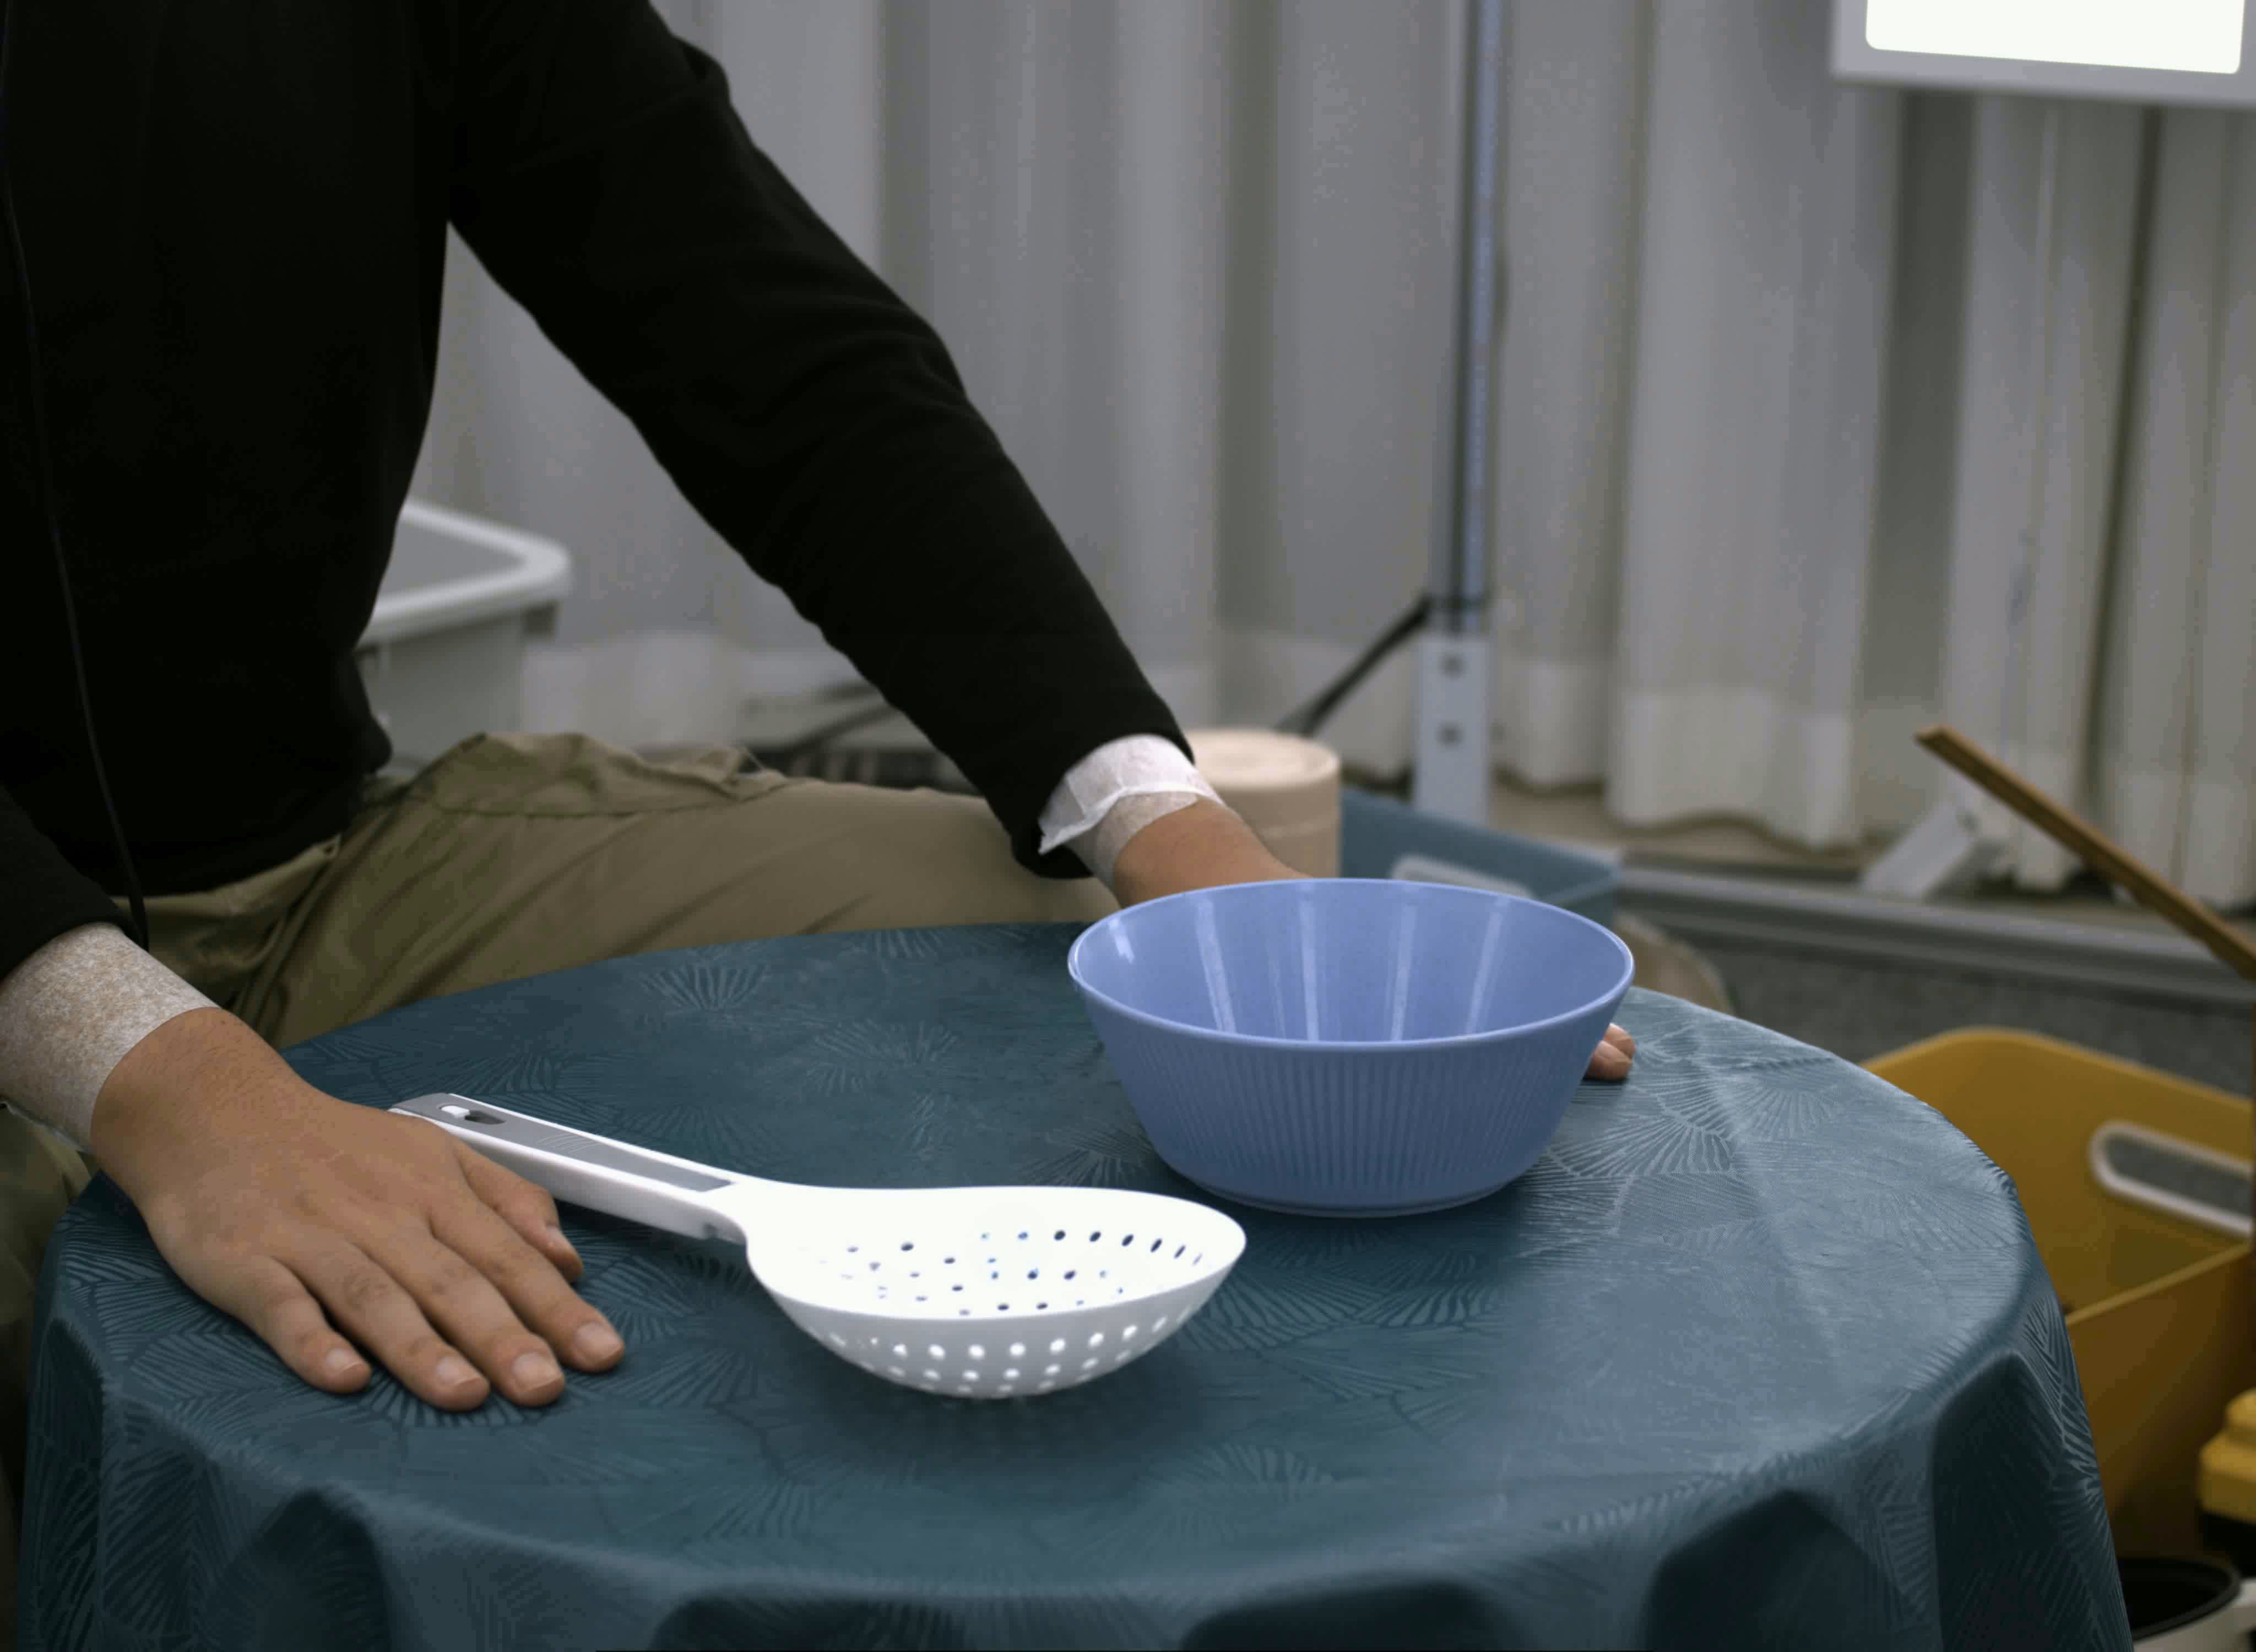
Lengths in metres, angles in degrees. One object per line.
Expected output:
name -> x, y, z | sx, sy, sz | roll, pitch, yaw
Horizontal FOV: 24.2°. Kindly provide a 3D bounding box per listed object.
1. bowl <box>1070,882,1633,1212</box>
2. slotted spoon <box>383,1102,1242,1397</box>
bowl -> 0.069, 0.071, 1.640 | 0.175, 0.071, 0.175 | 1, 15, 0
slotted spoon -> -0.108, 0.113, 1.531 | 0.137, 0.046, 0.345 | -14, 20, -42
